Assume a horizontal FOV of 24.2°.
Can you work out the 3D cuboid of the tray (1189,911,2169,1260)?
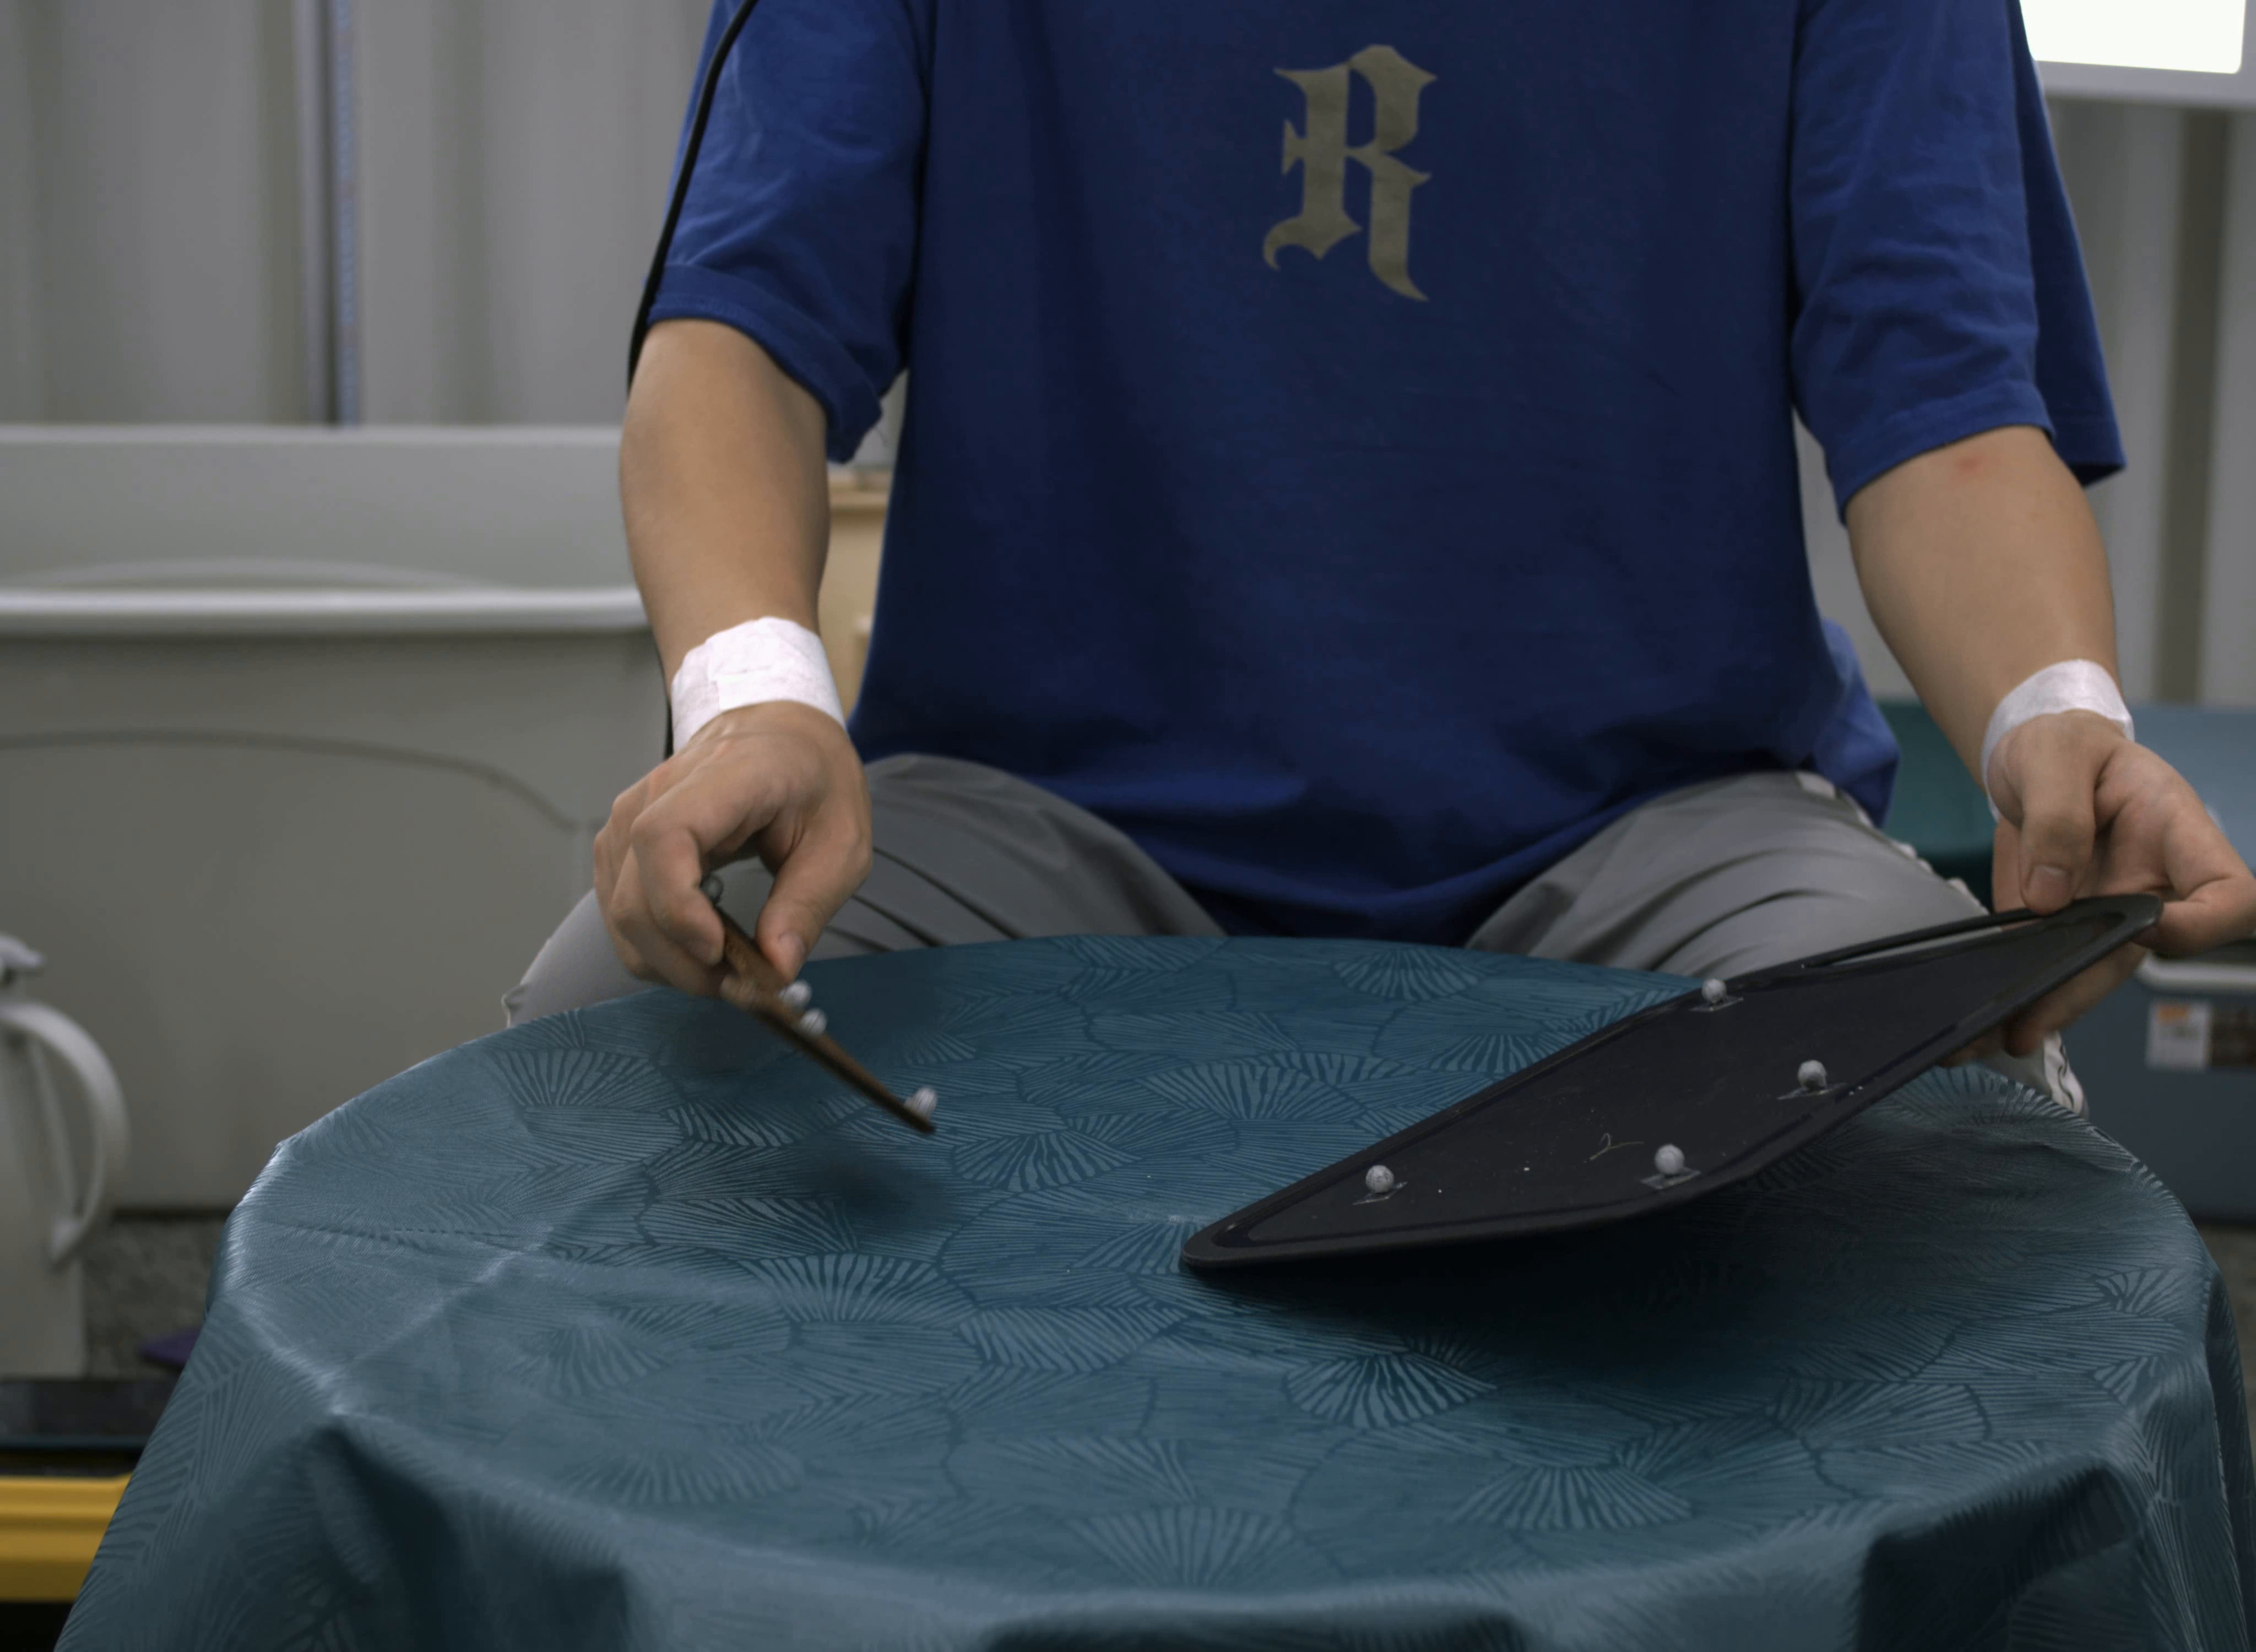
[{"bbox_3d":[0.175,0.074,1.609,0.209,0.010,0.326,-11,7,42],"label":"tray"}]

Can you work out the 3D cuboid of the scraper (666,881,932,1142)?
[{"bbox_3d":[-0.116,0.052,1.673,0.076,0.011,0.209,37,2,-23],"label":"scraper"}]
